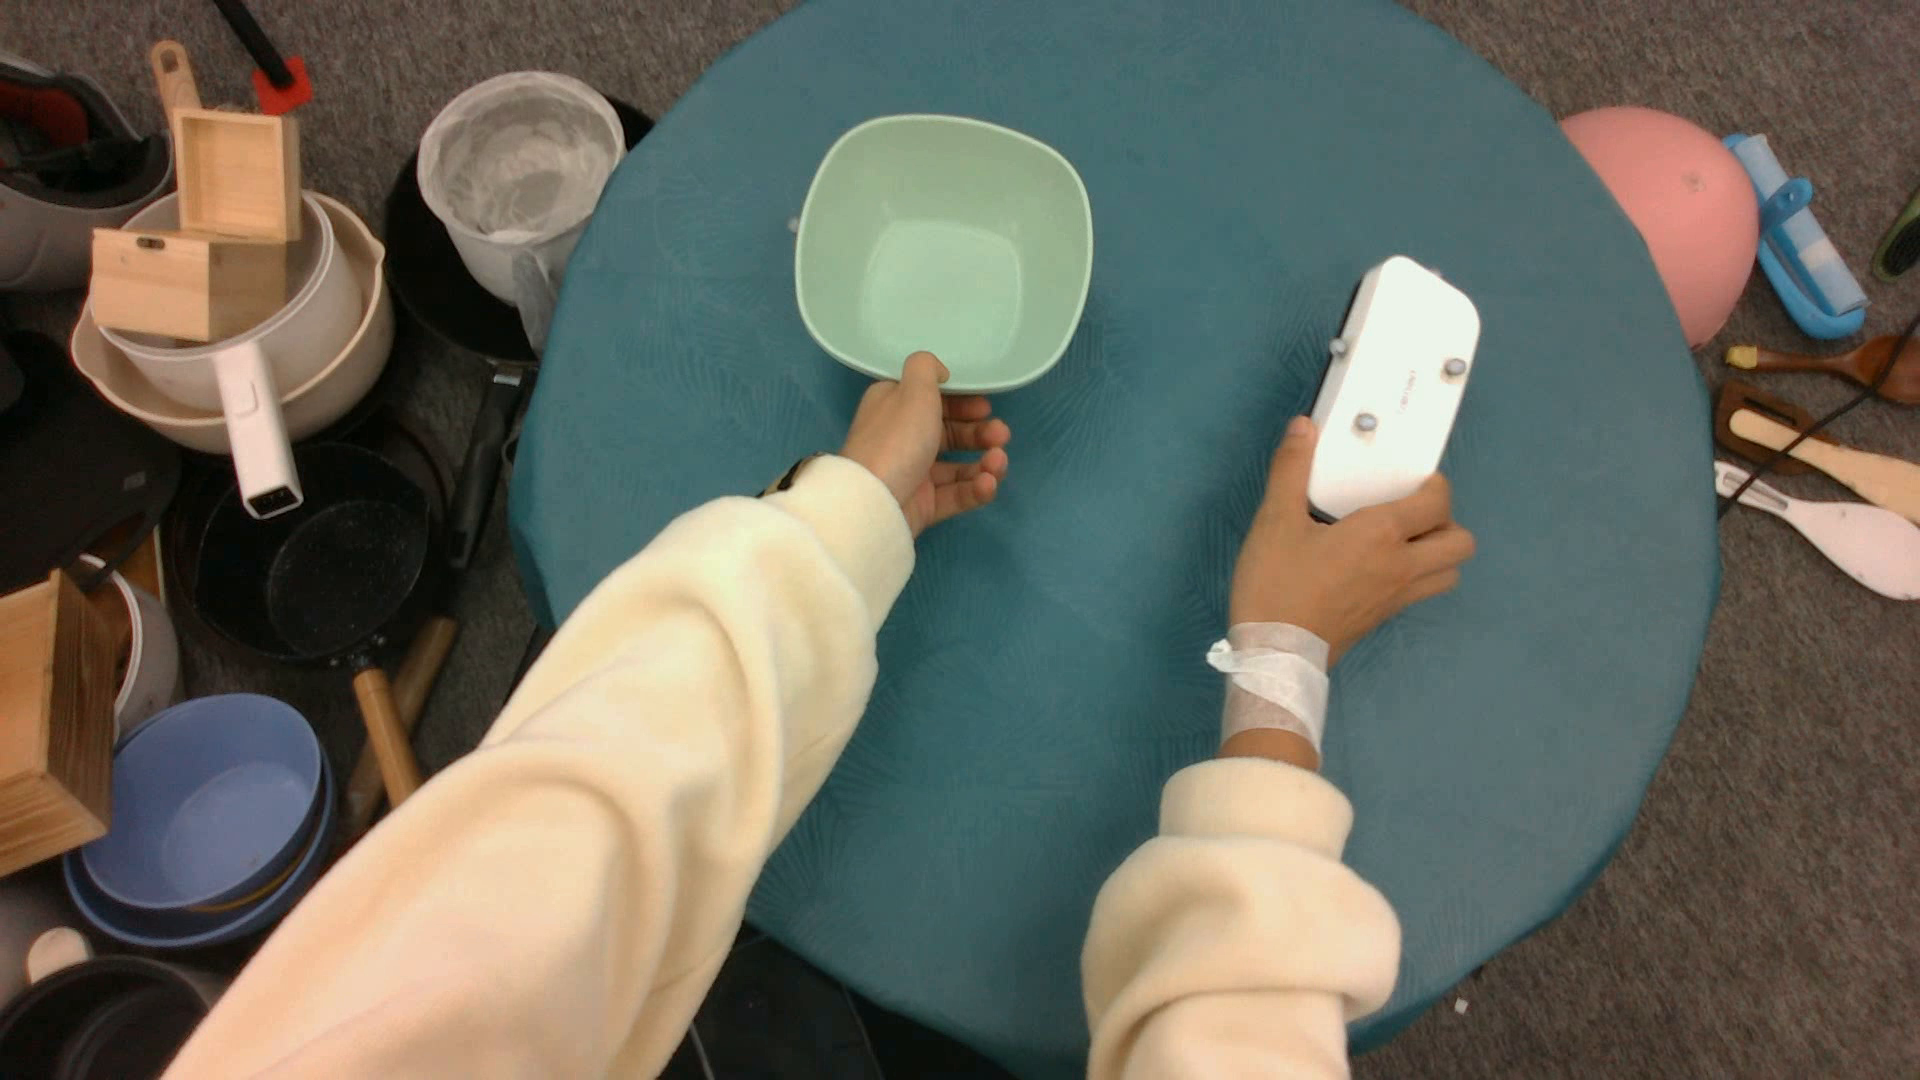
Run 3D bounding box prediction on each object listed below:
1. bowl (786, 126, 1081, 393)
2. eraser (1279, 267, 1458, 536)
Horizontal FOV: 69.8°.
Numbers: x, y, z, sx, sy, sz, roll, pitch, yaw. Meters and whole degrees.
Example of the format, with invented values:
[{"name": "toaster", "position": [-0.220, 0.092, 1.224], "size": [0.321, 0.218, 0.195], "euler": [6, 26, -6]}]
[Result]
[{"name": "bowl", "position": [-0.013, -0.128, 0.678], "size": [0.151, 0.058, 0.152], "euler": [1, 72, -2]}, {"name": "eraser", "position": [0.197, -0.068, 0.665], "size": [0.063, 0.034, 0.131], "euler": [24, 71, -10]}]
